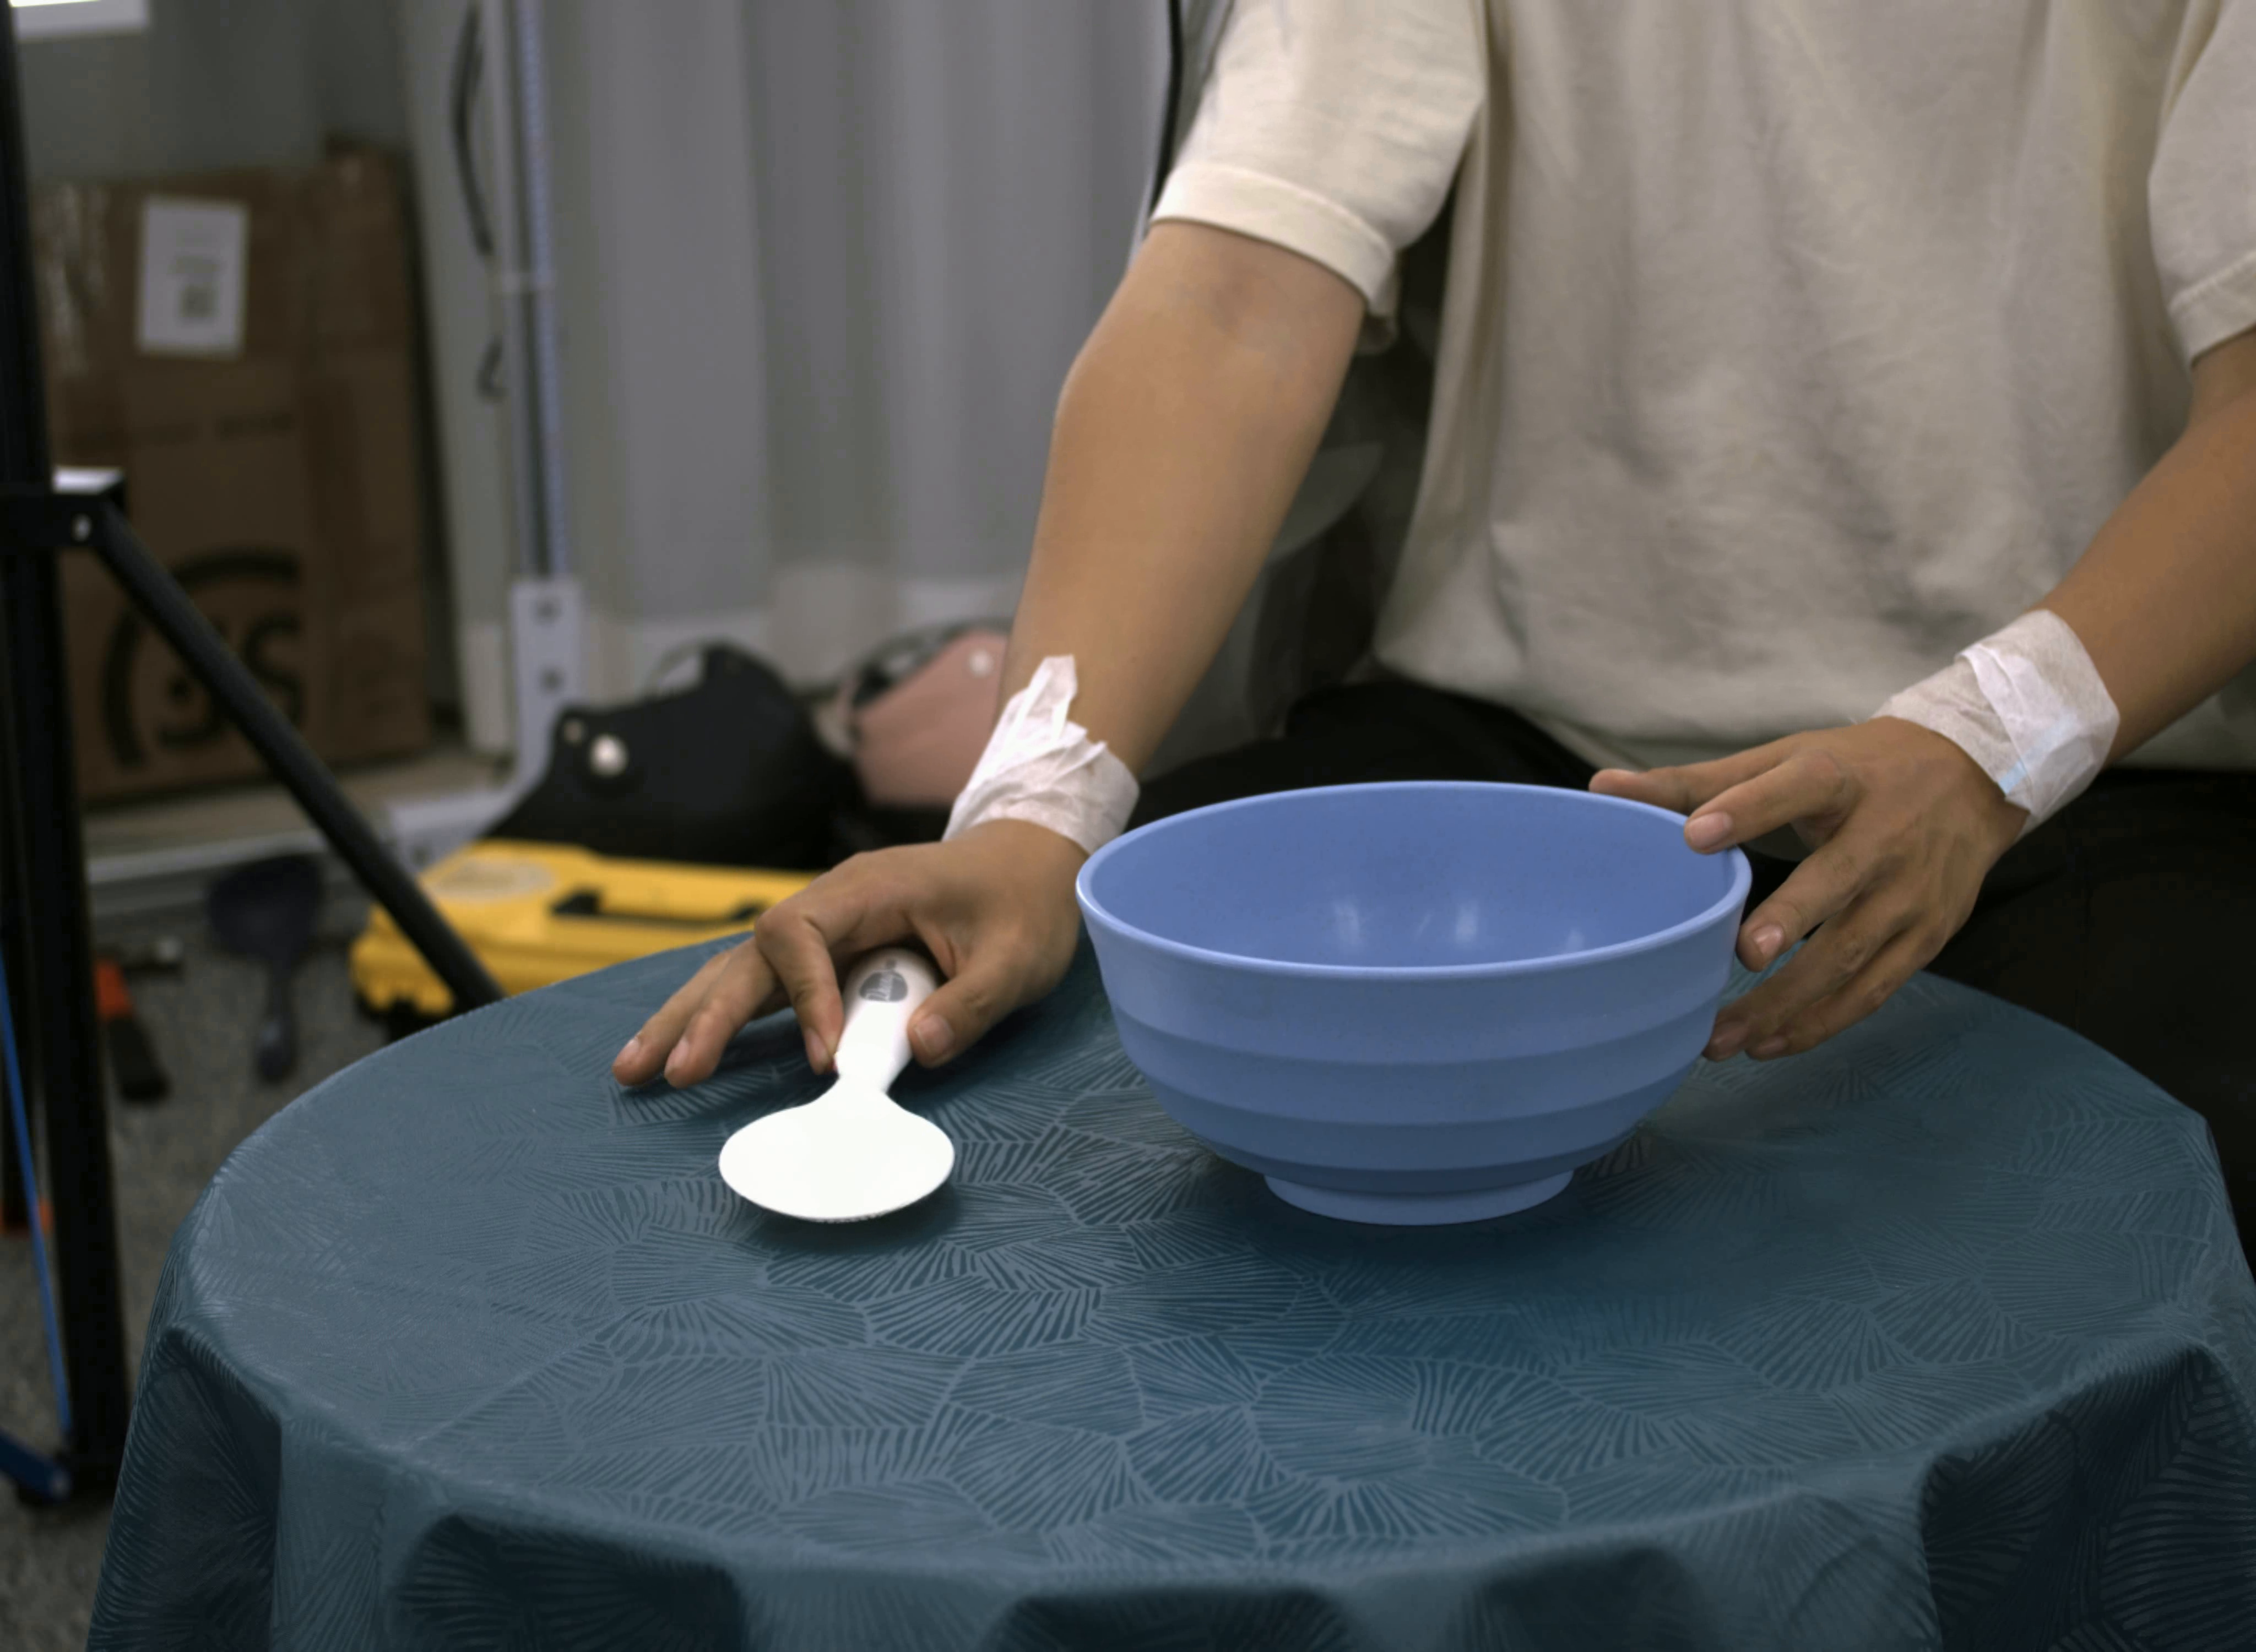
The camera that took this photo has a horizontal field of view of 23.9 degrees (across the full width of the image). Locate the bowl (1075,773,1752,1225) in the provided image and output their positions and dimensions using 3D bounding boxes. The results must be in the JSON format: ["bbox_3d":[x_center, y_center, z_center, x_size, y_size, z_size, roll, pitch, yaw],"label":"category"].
[{"bbox_3d":[0.084,0.056,1.548,0.195,0.095,0.197,-4,17,0],"label":"bowl"}]

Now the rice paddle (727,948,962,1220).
[{"bbox_3d":[-0.080,0.081,1.611,0.068,0.029,0.205,1,16,3],"label":"rice paddle"}]
